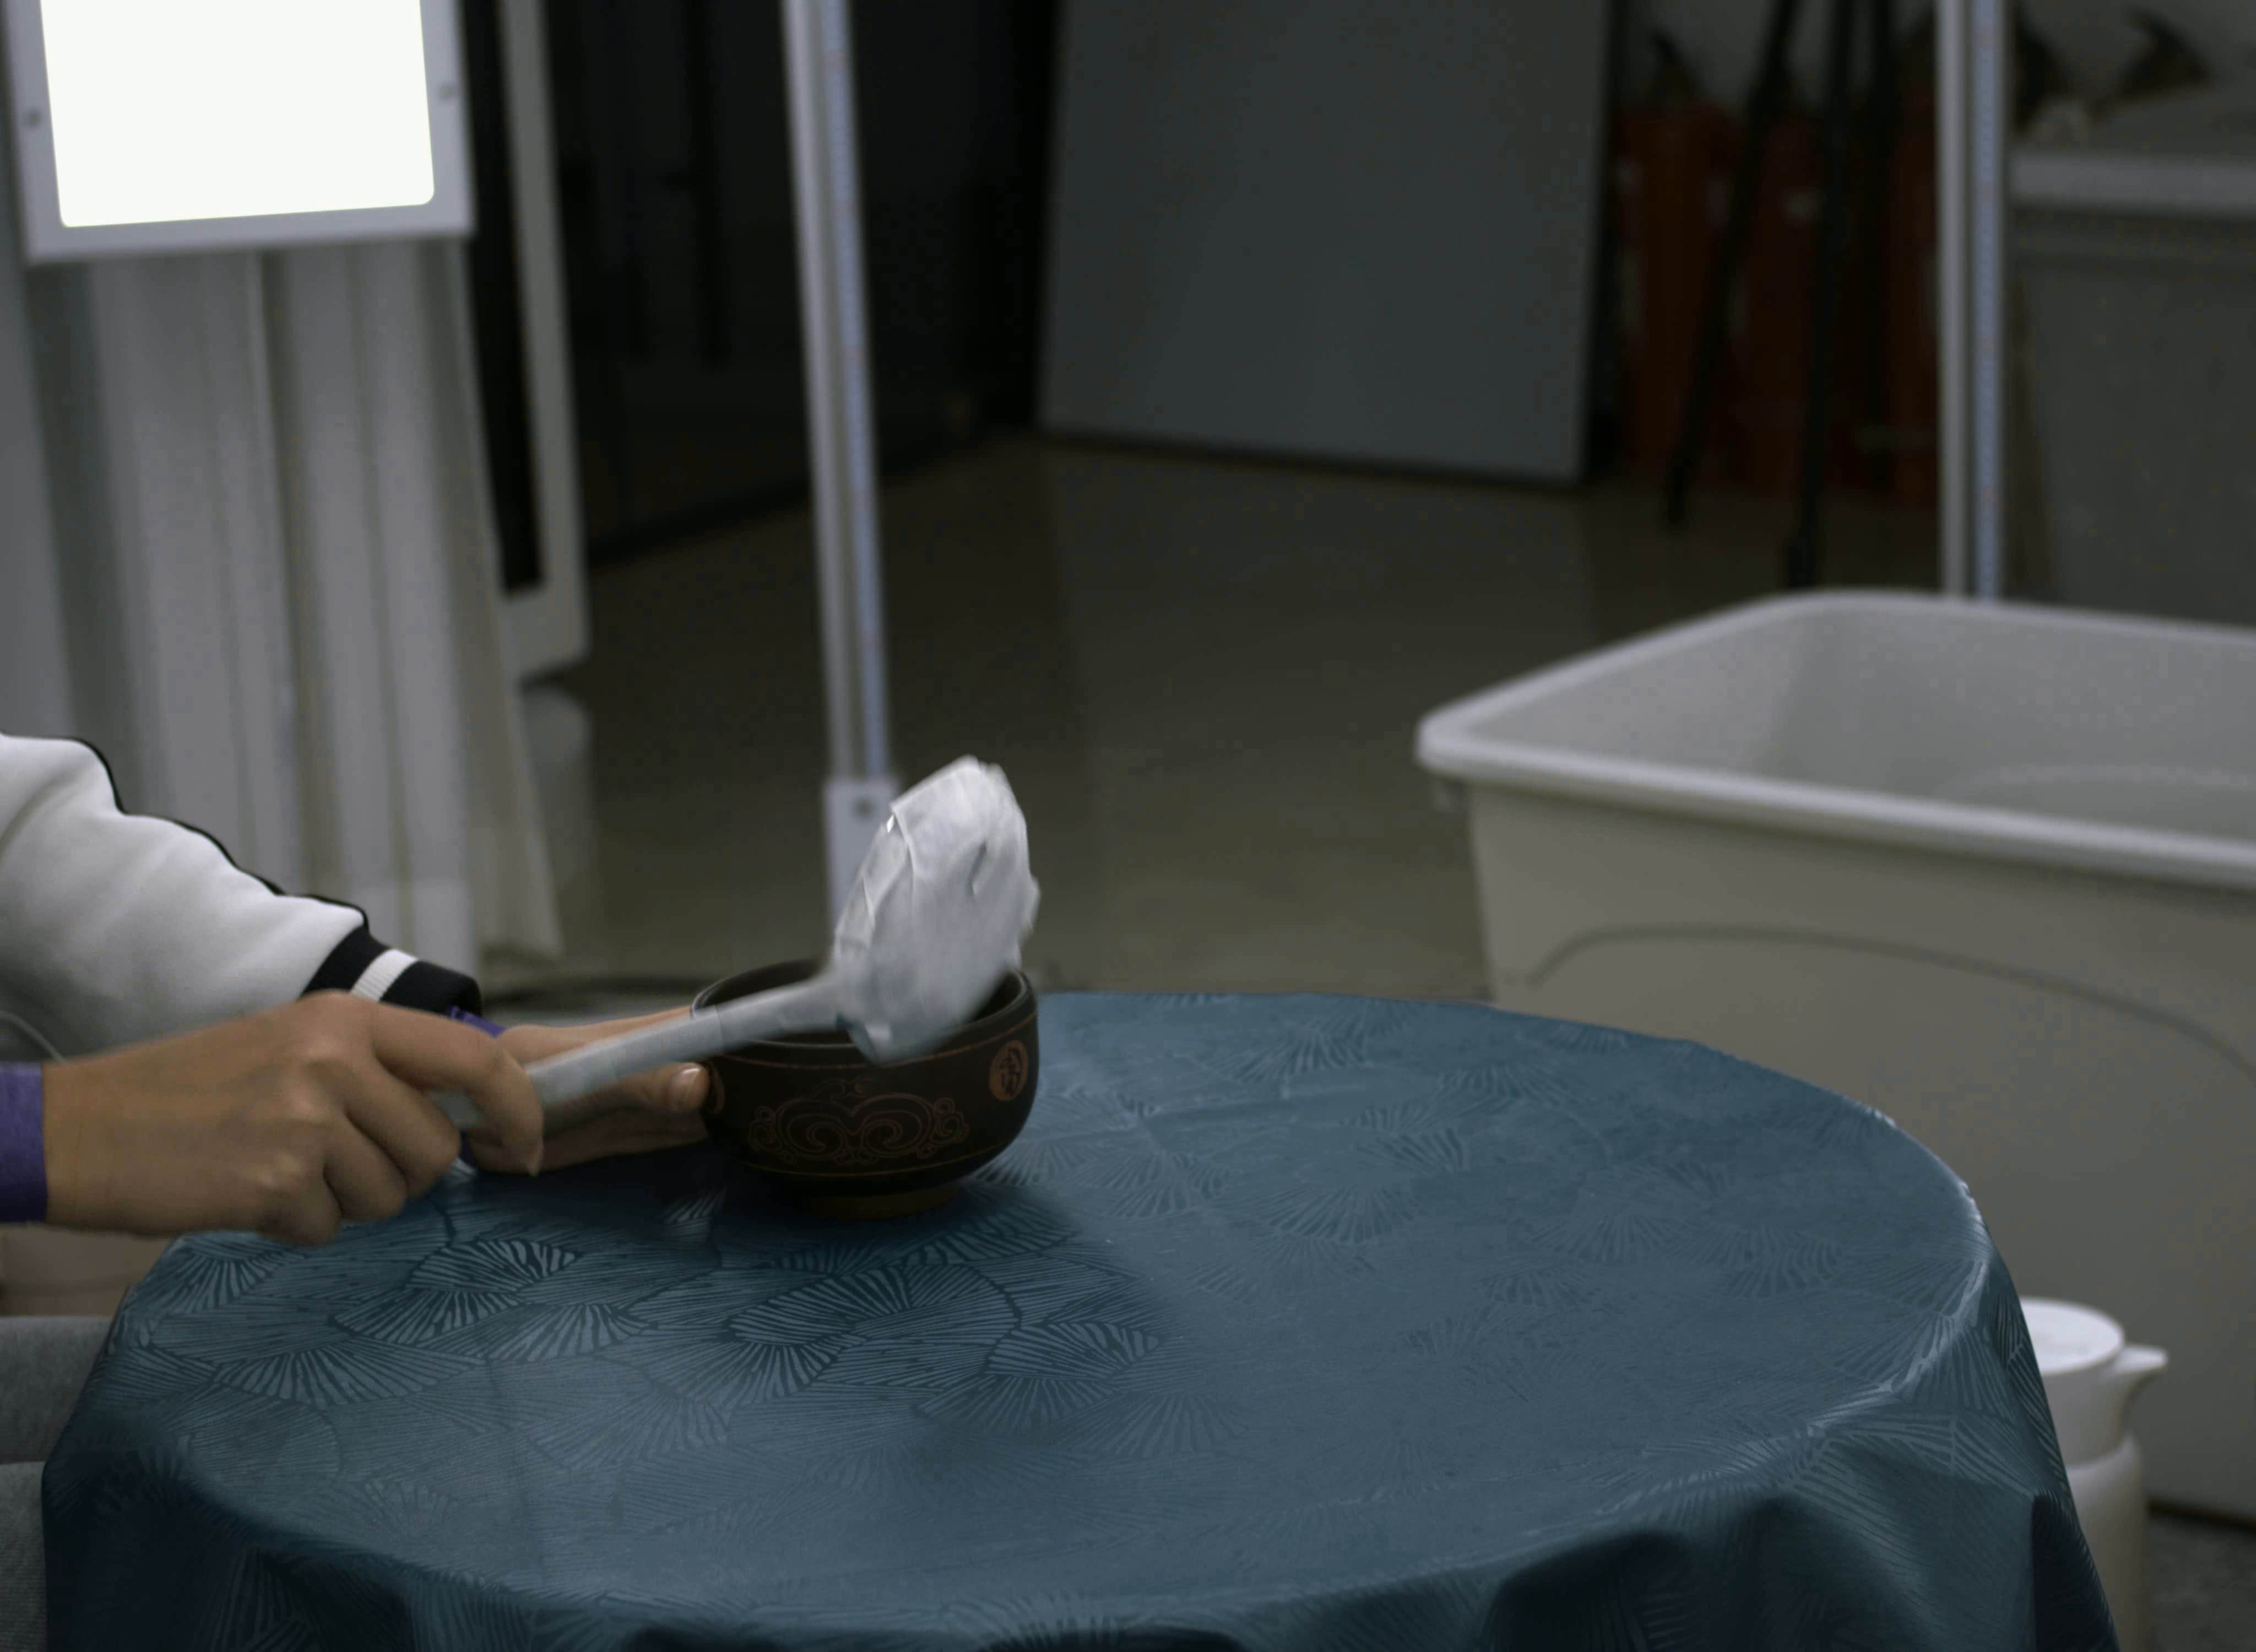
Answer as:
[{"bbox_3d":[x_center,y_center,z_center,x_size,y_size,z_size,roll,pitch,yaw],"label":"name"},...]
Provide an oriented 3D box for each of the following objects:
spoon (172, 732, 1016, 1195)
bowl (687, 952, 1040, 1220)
[{"bbox_3d":[-0.153,0.050,1.596,0.273,0.101,0.060,-18,40,-11],"label":"spoon"},{"bbox_3d":[-0.086,0.088,1.777,0.116,0.070,0.118,-4,13,0],"label":"bowl"}]
